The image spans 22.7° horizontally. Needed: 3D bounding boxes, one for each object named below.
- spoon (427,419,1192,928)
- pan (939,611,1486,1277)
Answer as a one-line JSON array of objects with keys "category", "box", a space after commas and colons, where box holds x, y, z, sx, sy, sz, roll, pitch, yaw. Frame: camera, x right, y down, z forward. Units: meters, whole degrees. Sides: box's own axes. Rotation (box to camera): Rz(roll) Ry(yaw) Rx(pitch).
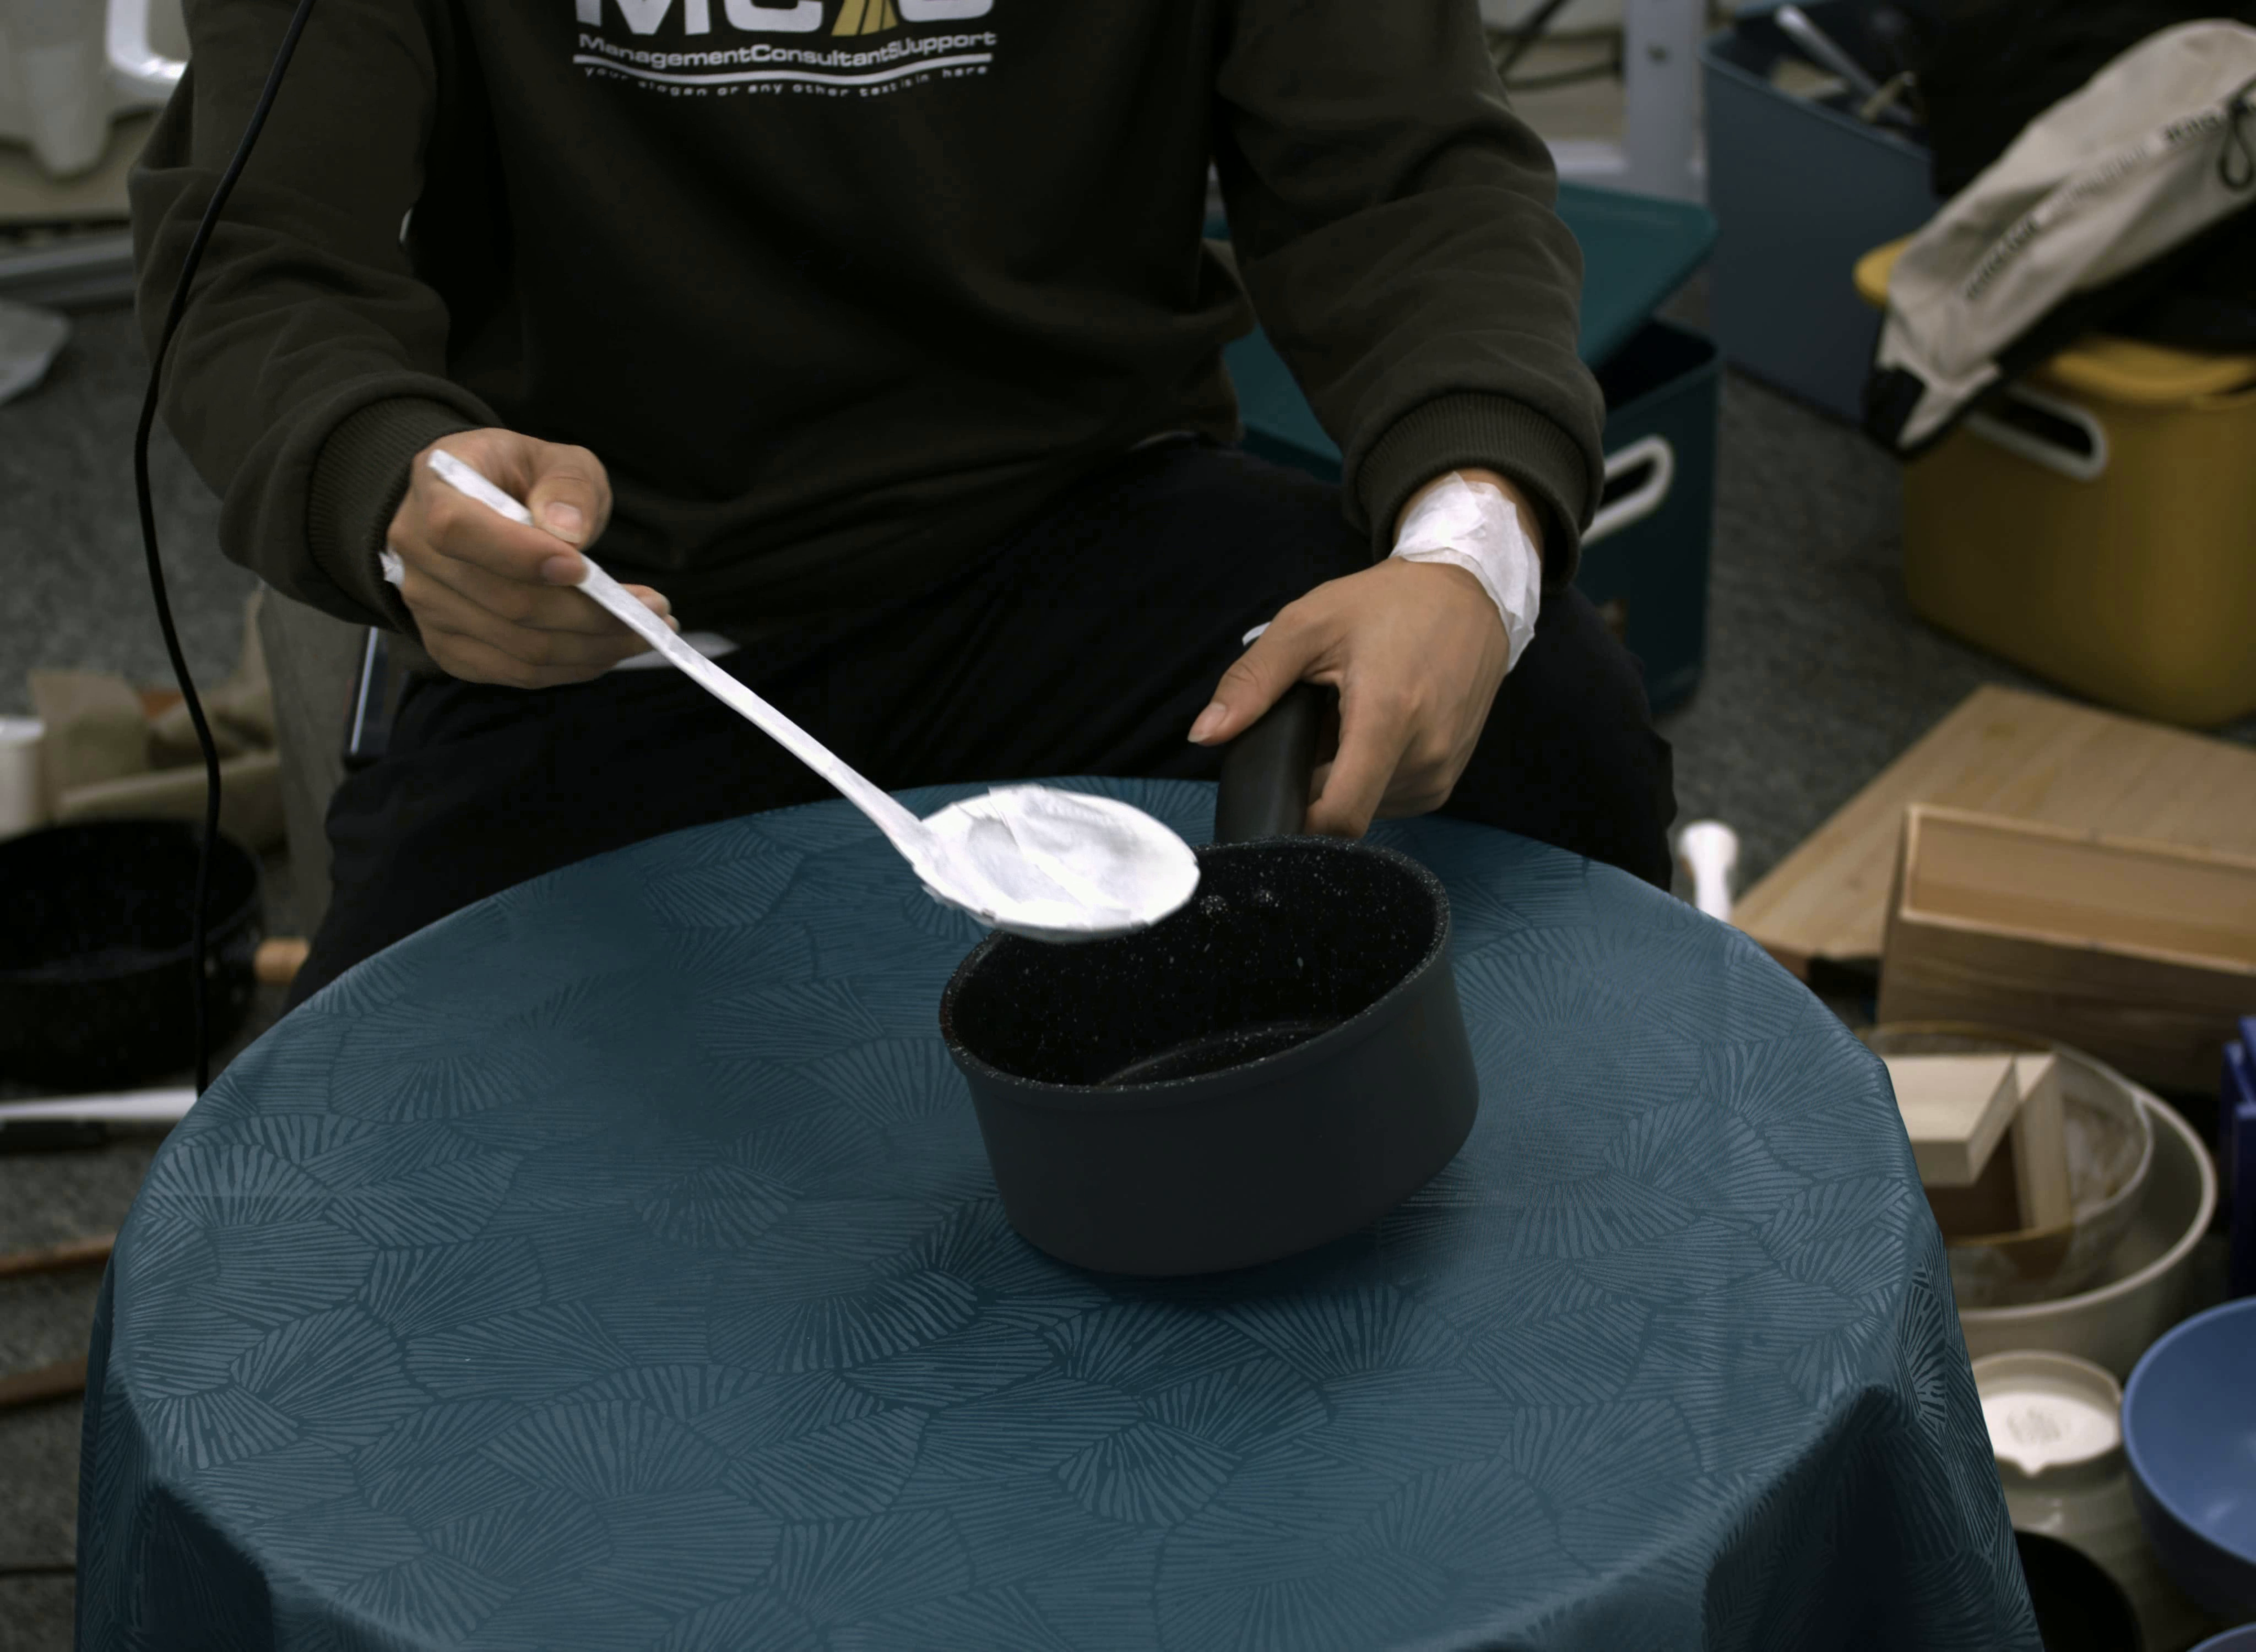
[{"category": "spoon", "box": [-0.101, -0.057, 1.806, 0.277, 0.058, 0.102, 40, 24, -8]}, {"category": "pan", "box": [0.045, 0.036, 1.908, 0.170, 0.086, 0.334, -6, 26, 16]}]
